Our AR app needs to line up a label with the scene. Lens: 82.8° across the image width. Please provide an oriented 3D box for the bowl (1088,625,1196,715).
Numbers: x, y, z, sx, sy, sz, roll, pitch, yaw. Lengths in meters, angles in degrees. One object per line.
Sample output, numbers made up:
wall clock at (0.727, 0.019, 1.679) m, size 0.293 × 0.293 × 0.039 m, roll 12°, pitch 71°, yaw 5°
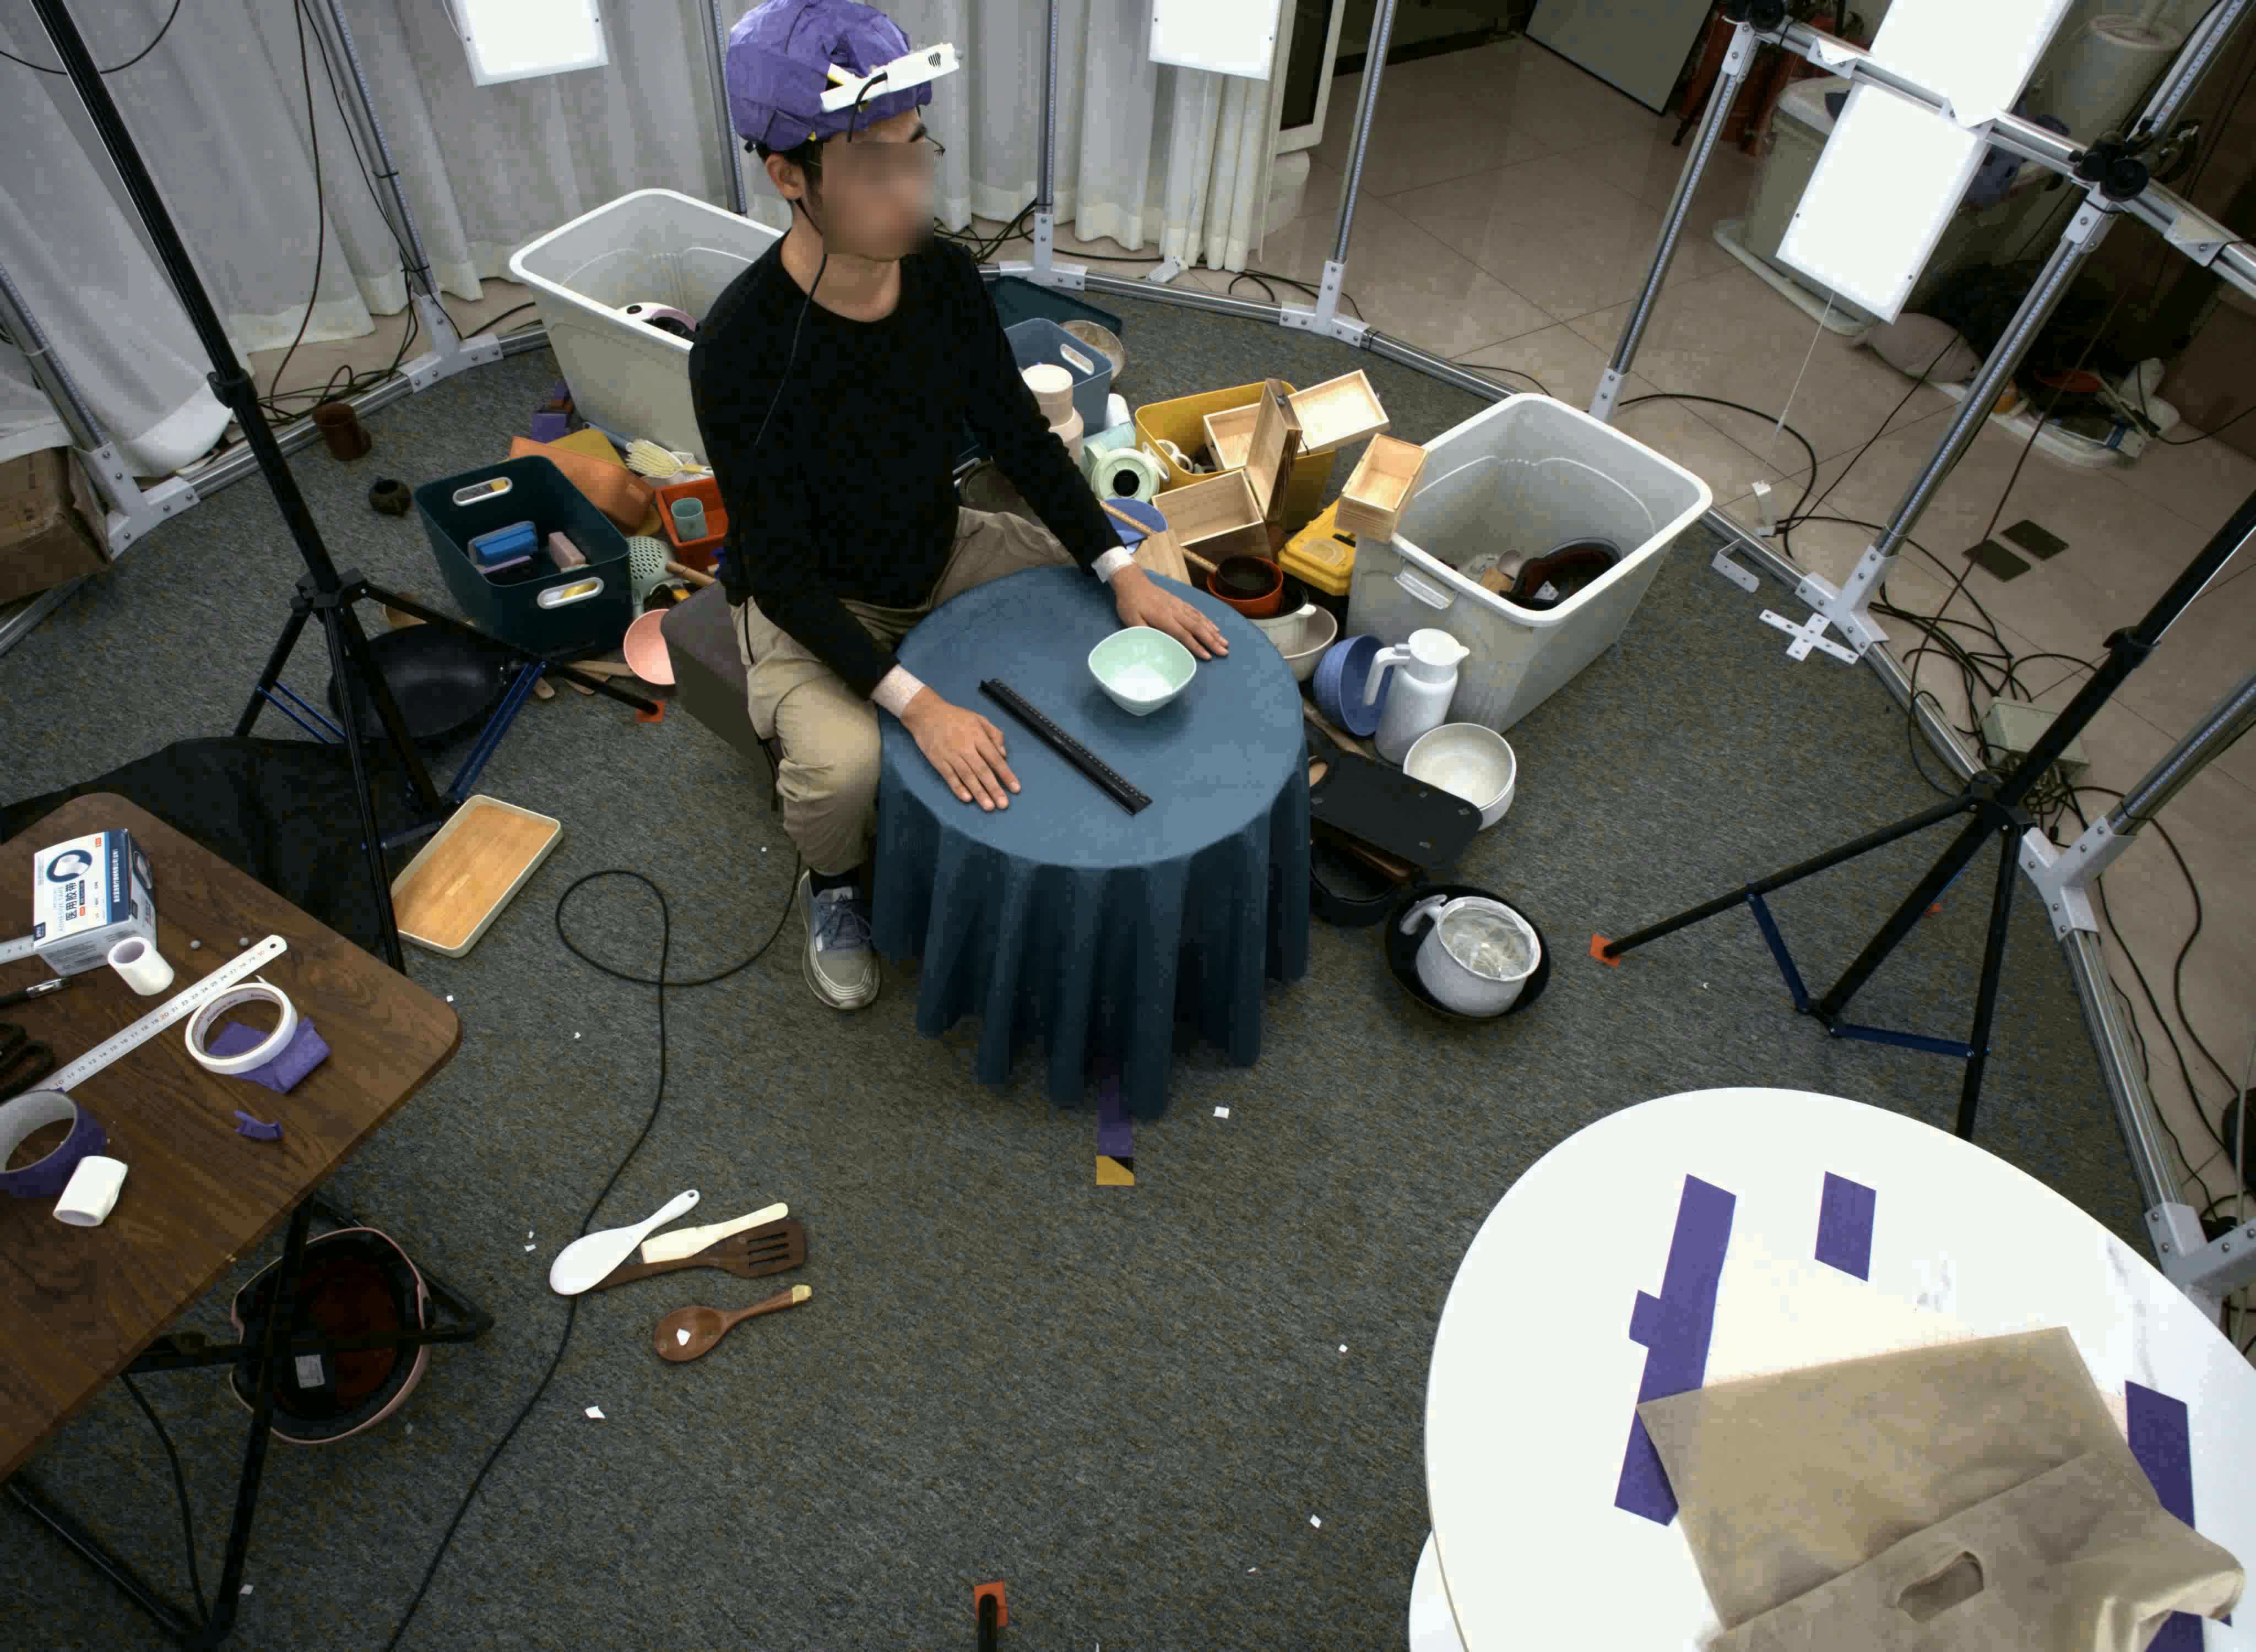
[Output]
bowl at (0.018, -0.212, 1.819) m, size 0.151 × 0.057 × 0.155 m, roll 2°, pitch 51°, yaw -3°

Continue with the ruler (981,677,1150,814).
ruler at (-0.088, -0.119, 1.757) m, size 0.039 × 0.017 × 0.317 m, roll -32°, pitch 58°, yaw -31°
